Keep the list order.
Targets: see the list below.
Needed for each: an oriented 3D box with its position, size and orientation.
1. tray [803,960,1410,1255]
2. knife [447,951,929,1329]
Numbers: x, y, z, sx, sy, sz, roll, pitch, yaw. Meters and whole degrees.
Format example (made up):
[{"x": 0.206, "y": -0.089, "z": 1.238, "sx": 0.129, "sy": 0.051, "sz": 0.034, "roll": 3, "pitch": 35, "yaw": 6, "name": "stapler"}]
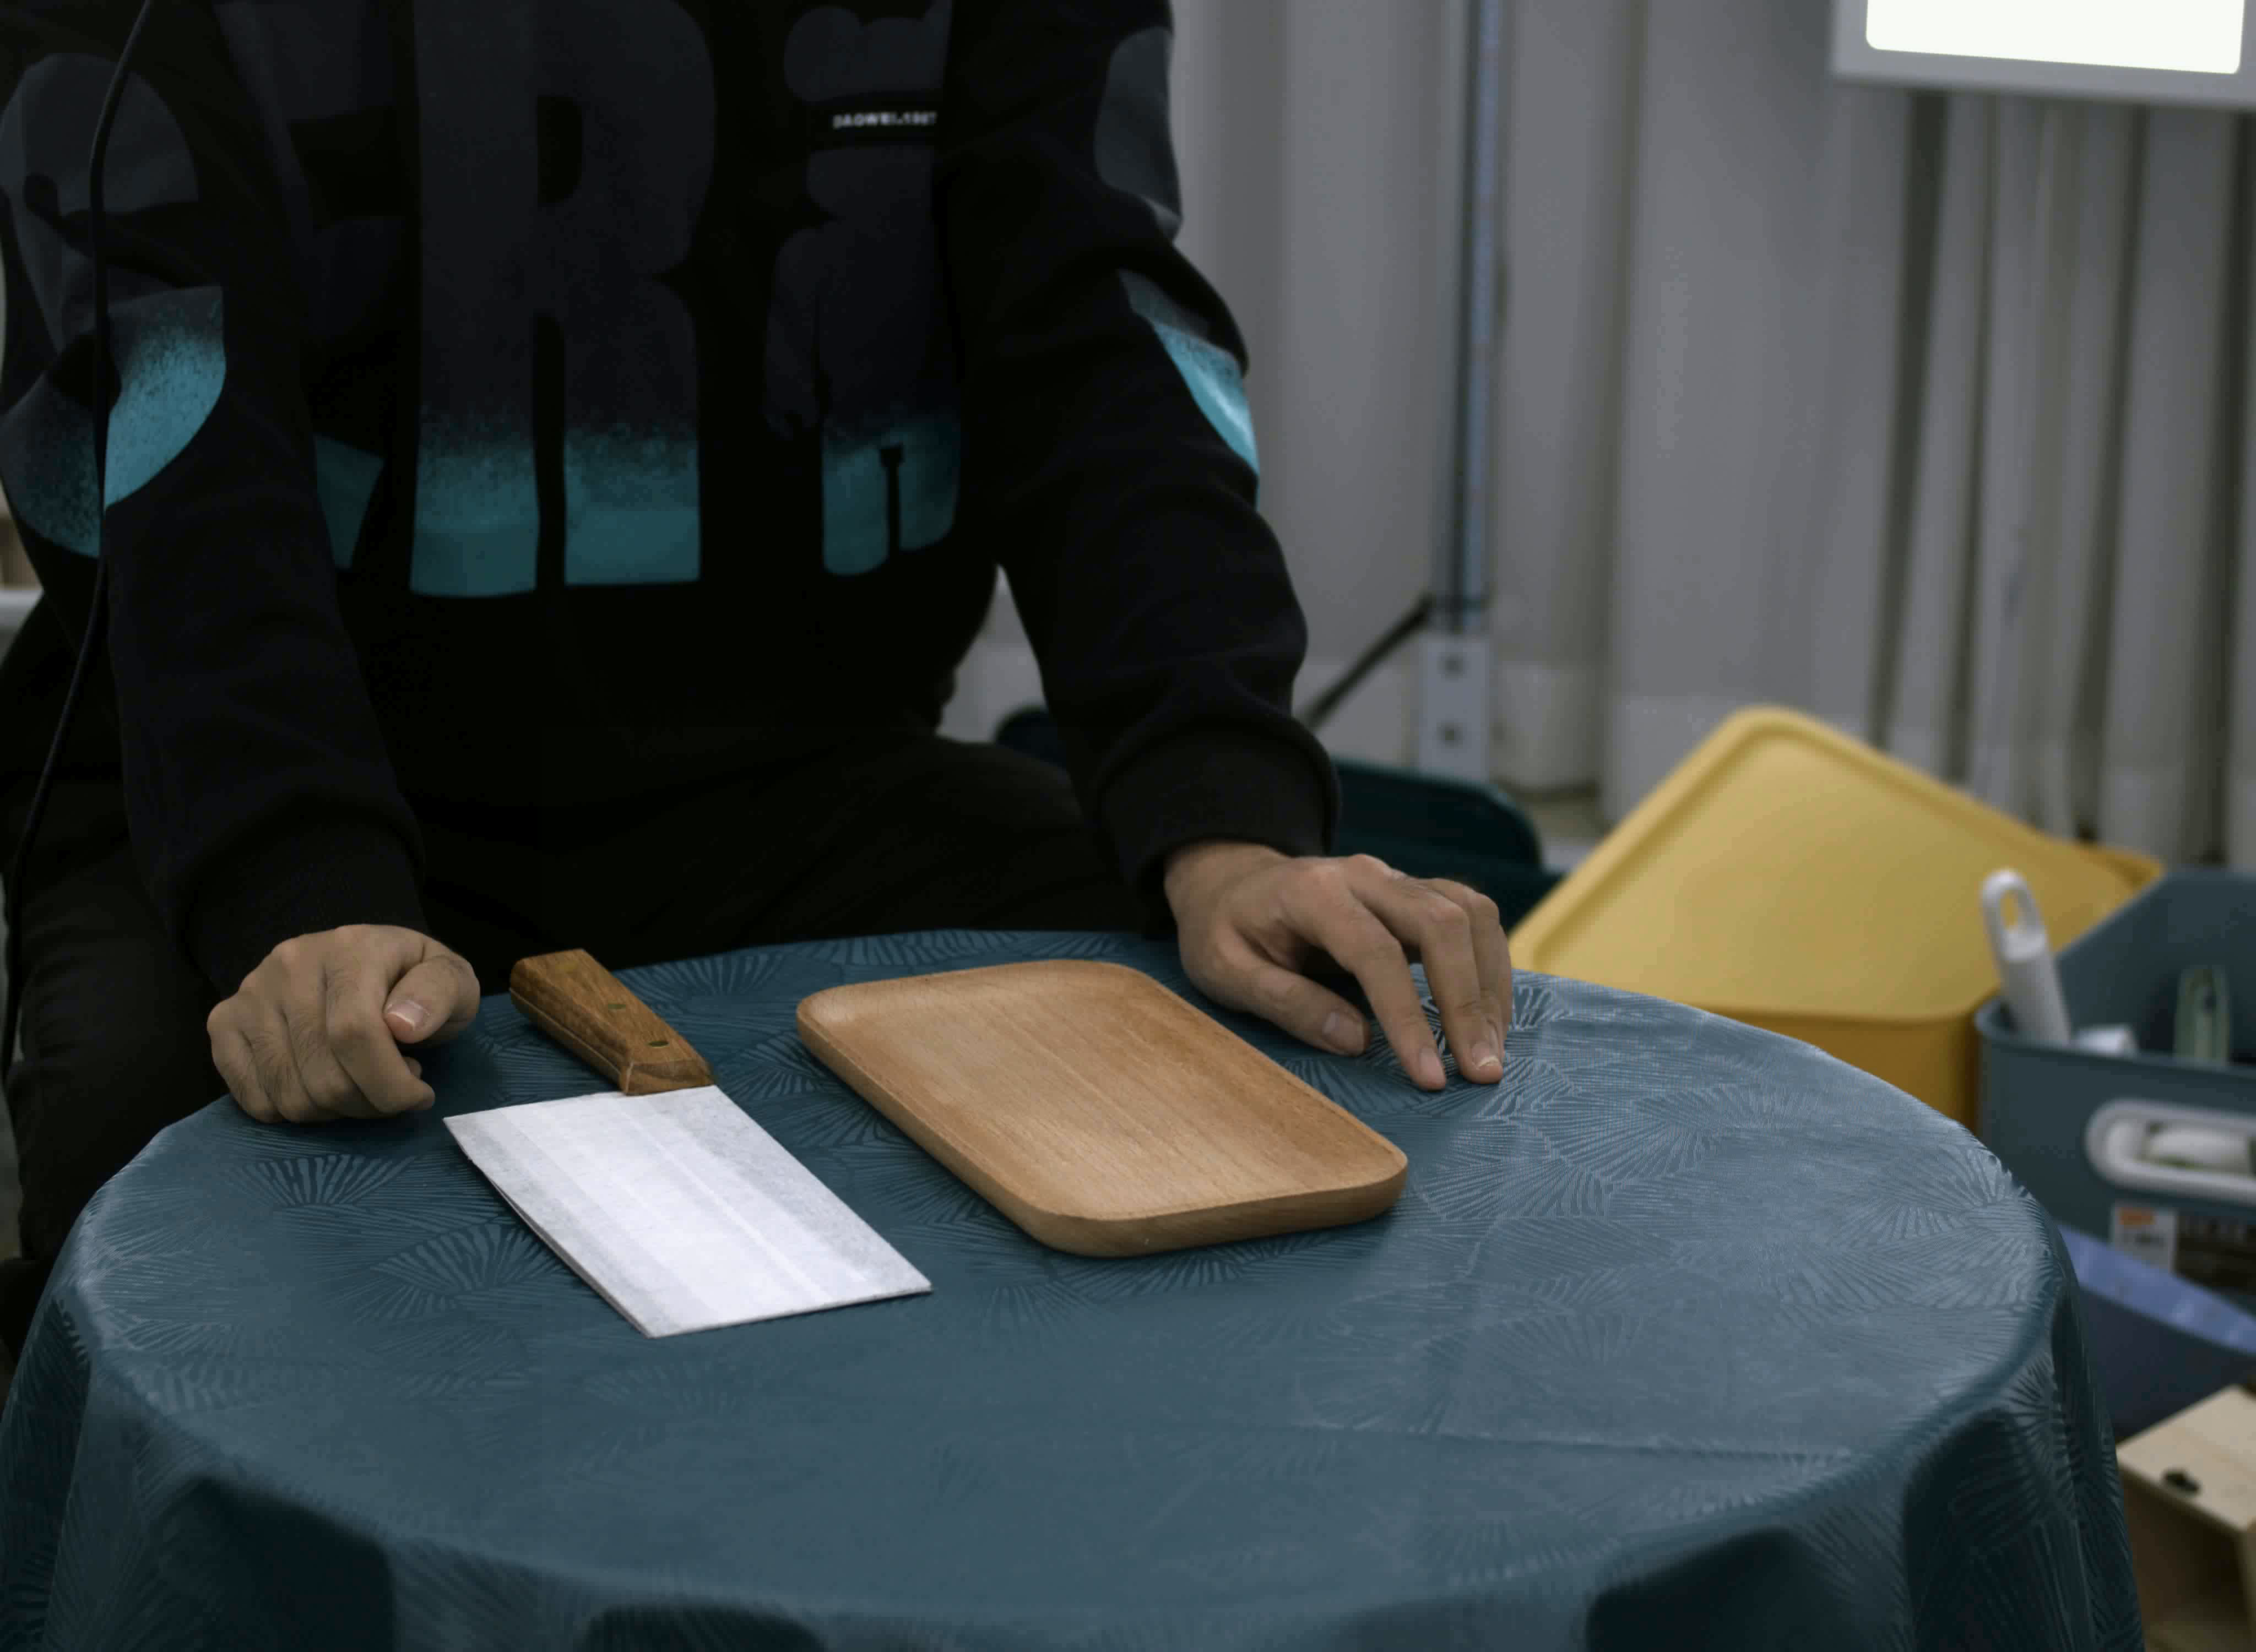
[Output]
[{"x": -0.011, "y": 0.087, "z": 1.683, "sx": 0.131, "sy": 0.023, "sz": 0.248, "roll": -4, "pitch": 15, "yaw": -22, "name": "tray"}, {"x": -0.159, "y": 0.097, "z": 1.645, "sx": 0.093, "sy": 0.021, "sz": 0.302, "roll": -8, "pitch": 20, "yaw": -24, "name": "knife"}]
